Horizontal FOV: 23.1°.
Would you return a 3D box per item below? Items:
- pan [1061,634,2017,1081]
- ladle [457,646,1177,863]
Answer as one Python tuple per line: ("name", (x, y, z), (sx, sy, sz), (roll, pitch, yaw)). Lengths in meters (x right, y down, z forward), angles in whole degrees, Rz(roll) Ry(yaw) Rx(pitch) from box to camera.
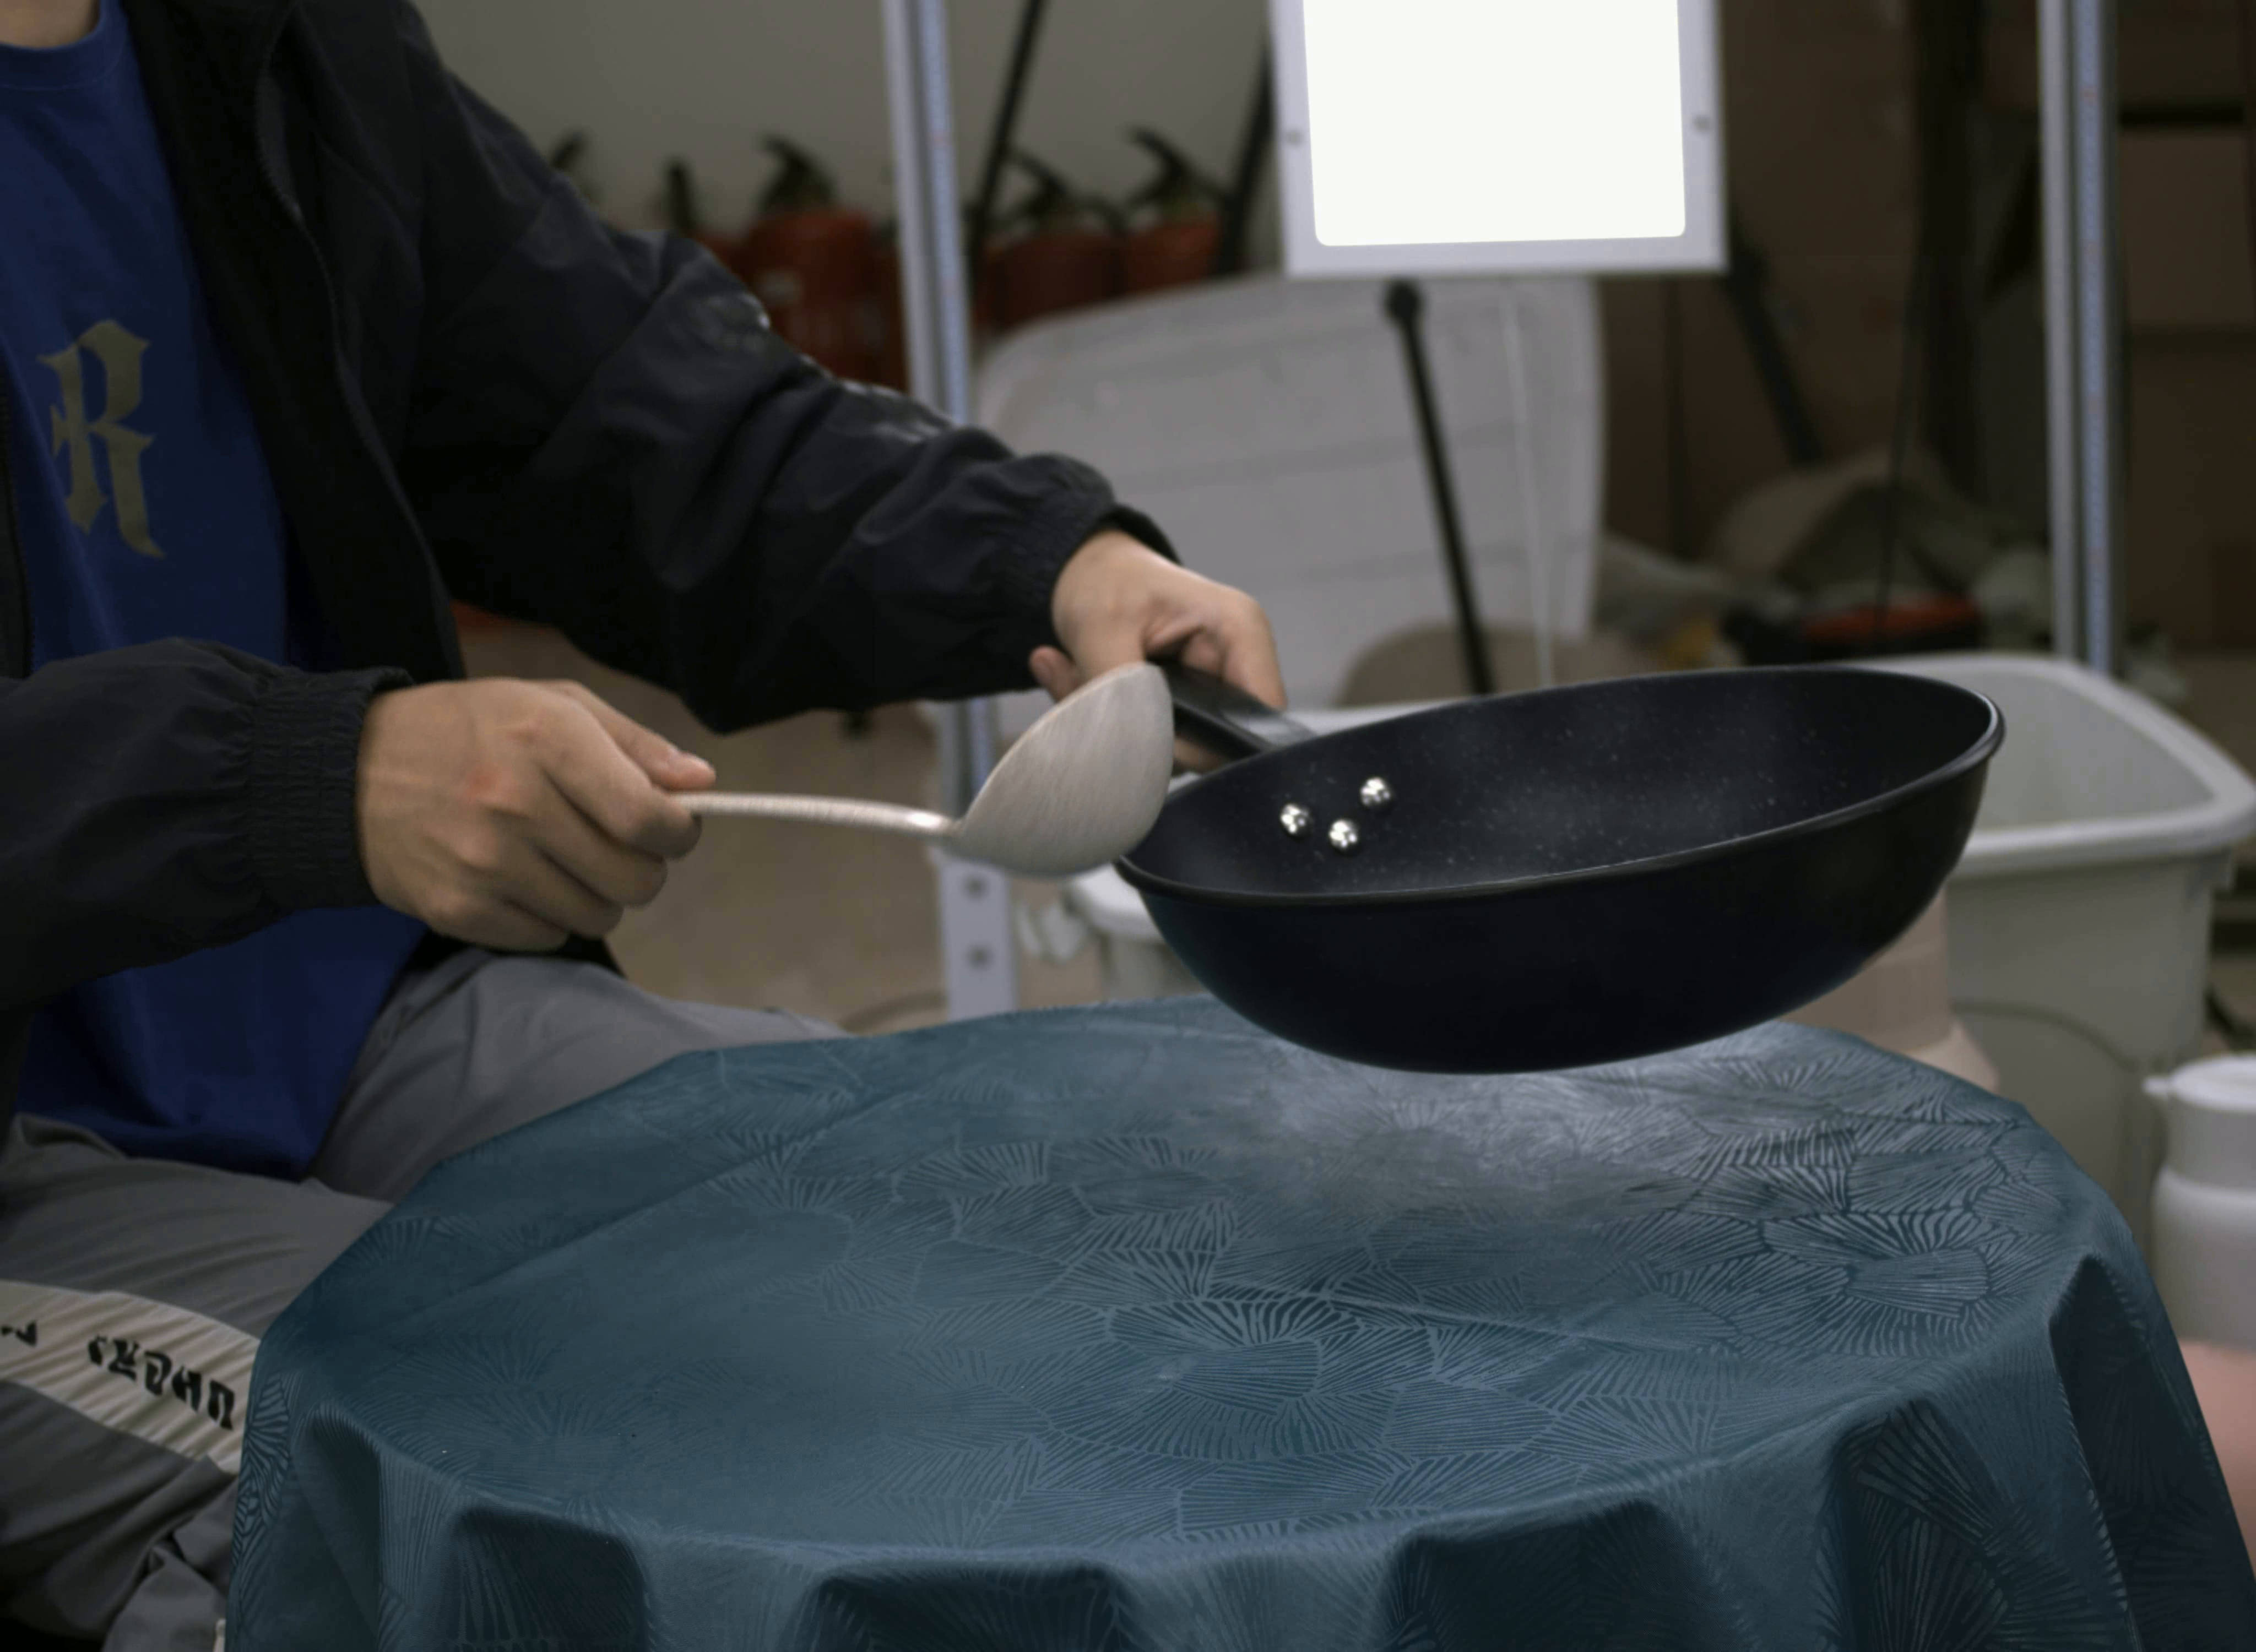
("pan", (0.111, 0.004, 1.952), (0.303, 0.112, 0.486), (-15, 13, -28))
("ladle", (-0.109, -0.027, 1.785), (0.280, 0.069, 0.087), (3, 9, 34))
